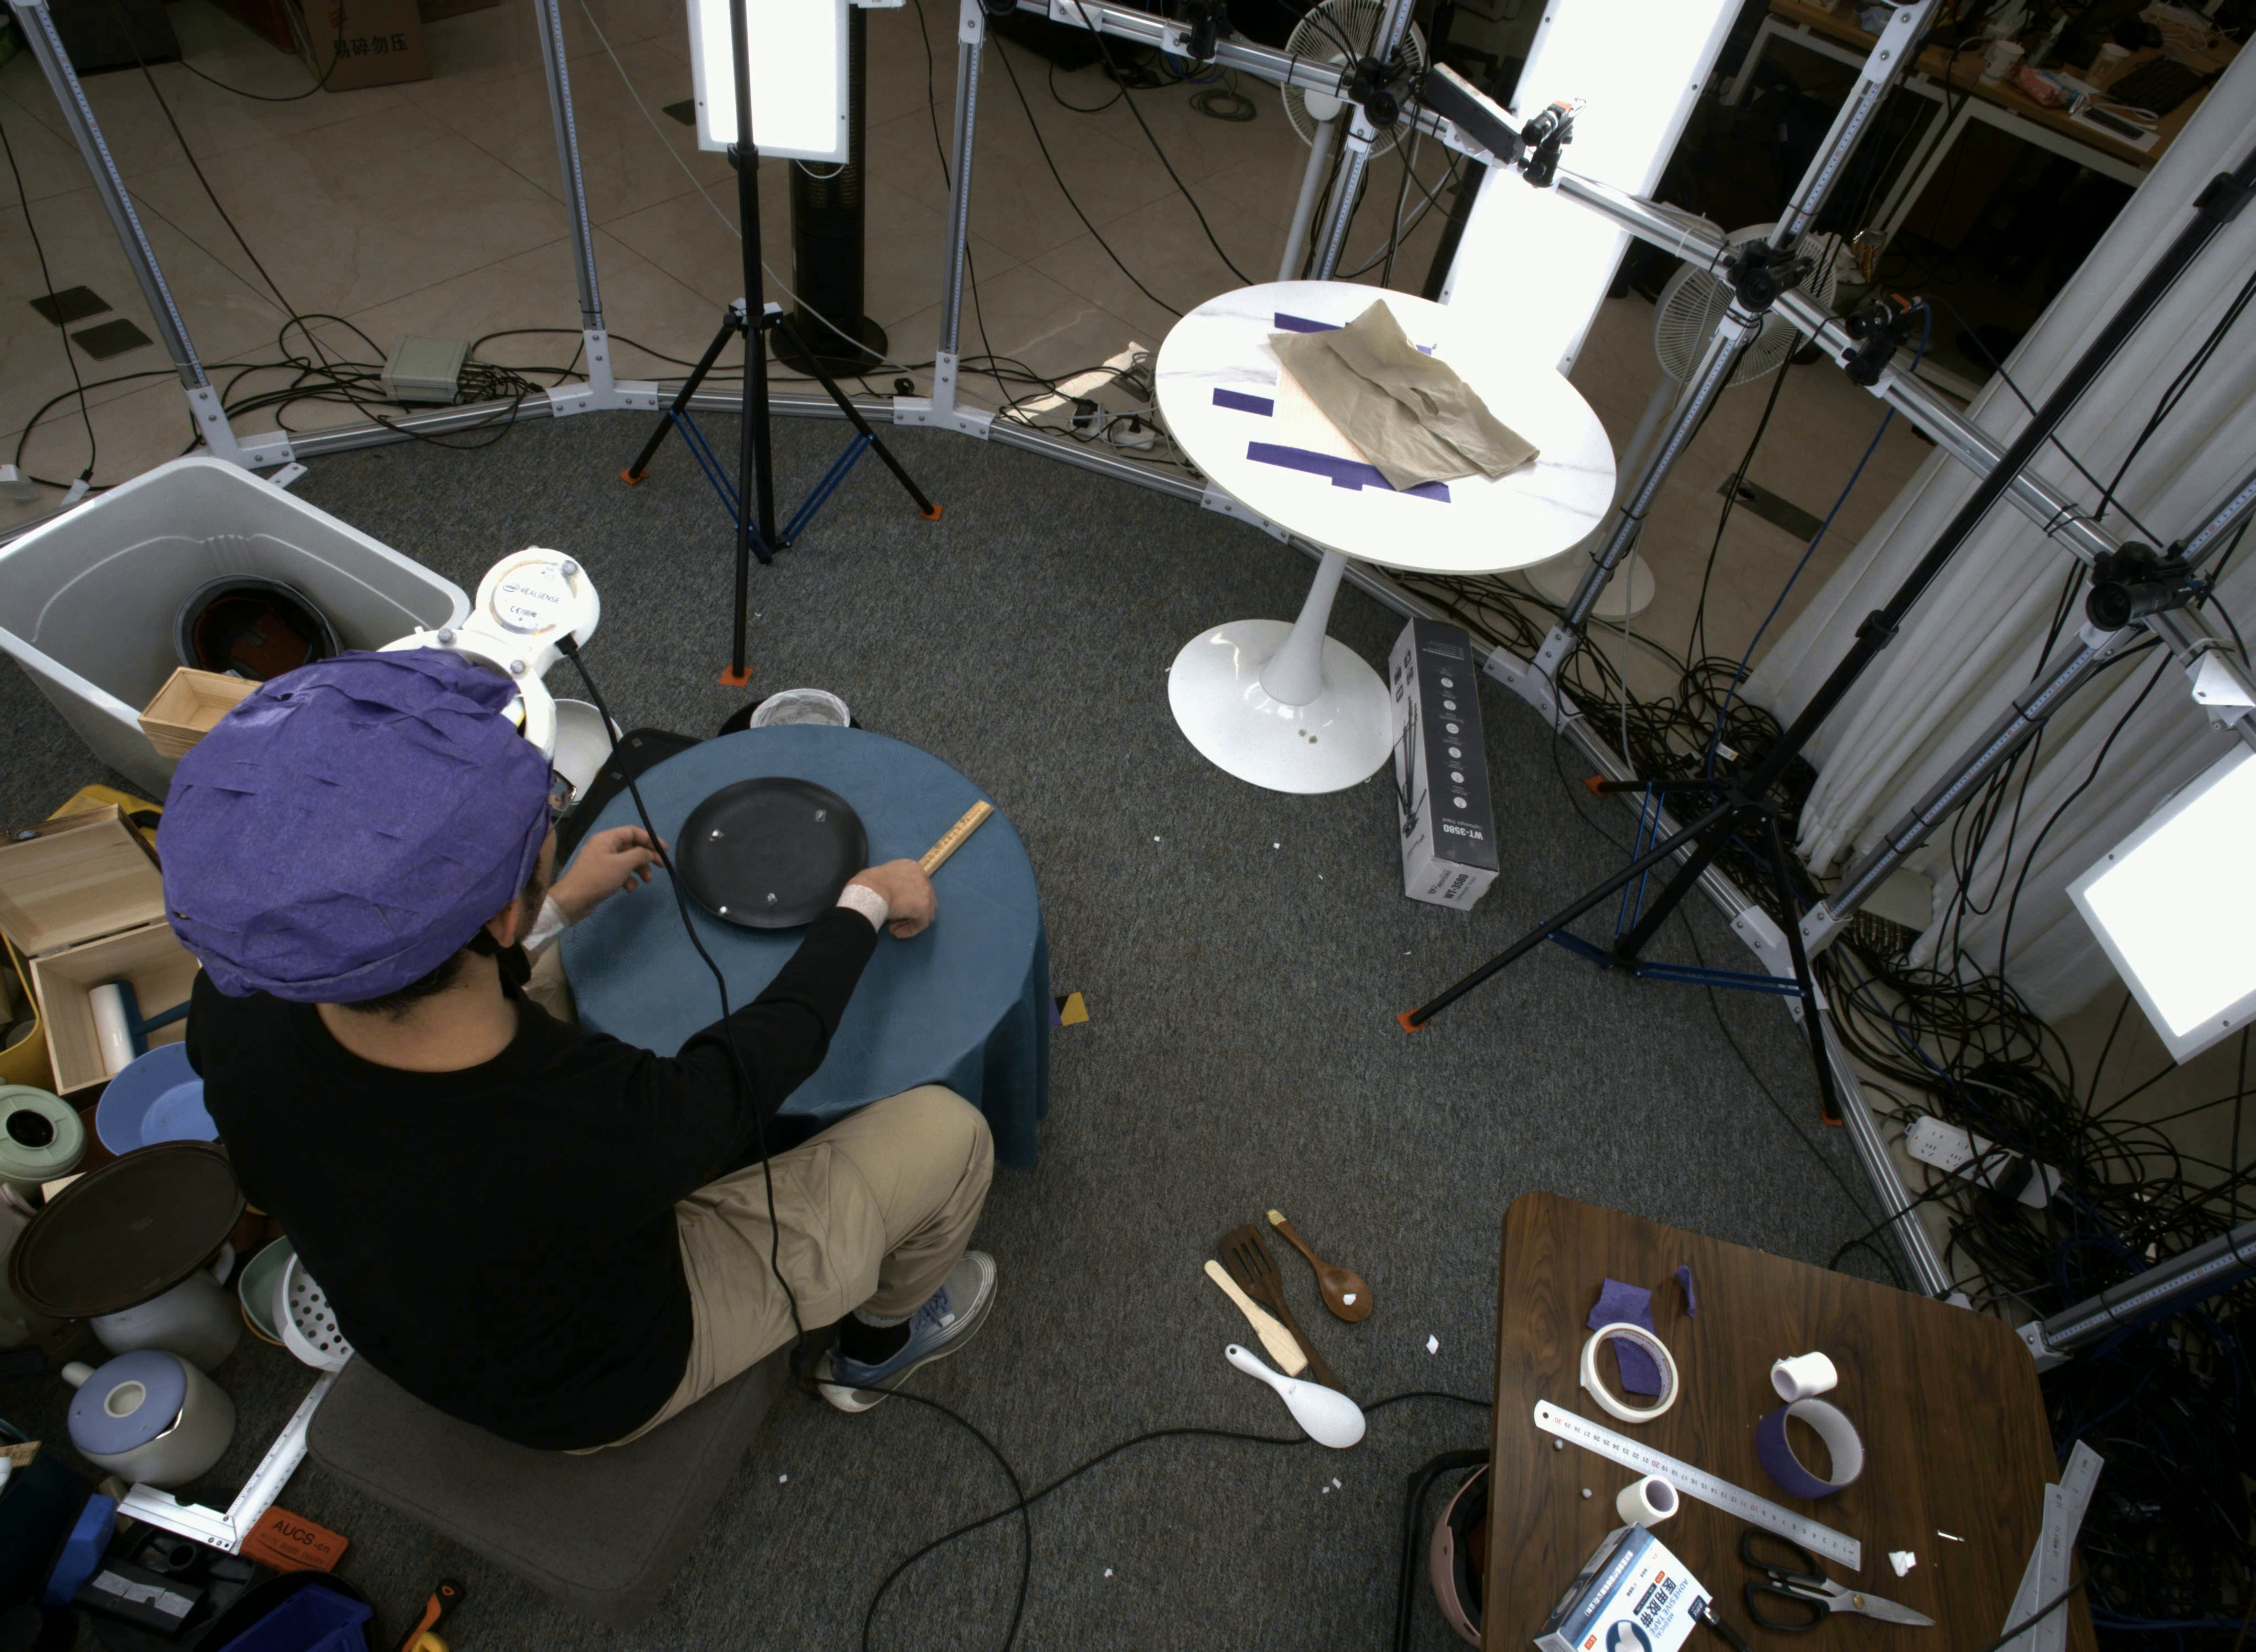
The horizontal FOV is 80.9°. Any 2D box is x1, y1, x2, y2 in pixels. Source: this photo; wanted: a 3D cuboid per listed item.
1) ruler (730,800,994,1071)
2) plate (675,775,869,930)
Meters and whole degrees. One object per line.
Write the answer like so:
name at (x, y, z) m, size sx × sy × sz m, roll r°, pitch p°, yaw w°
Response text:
ruler at (-0.325, 0.122, 1.650) m, size 0.026 × 0.006 × 0.499 m, roll 32°, pitch 53°, yaw 12°
plate at (-0.458, 0.034, 1.669) m, size 0.244 × 0.024 × 0.240 m, roll 8°, pitch 53°, yaw -9°
